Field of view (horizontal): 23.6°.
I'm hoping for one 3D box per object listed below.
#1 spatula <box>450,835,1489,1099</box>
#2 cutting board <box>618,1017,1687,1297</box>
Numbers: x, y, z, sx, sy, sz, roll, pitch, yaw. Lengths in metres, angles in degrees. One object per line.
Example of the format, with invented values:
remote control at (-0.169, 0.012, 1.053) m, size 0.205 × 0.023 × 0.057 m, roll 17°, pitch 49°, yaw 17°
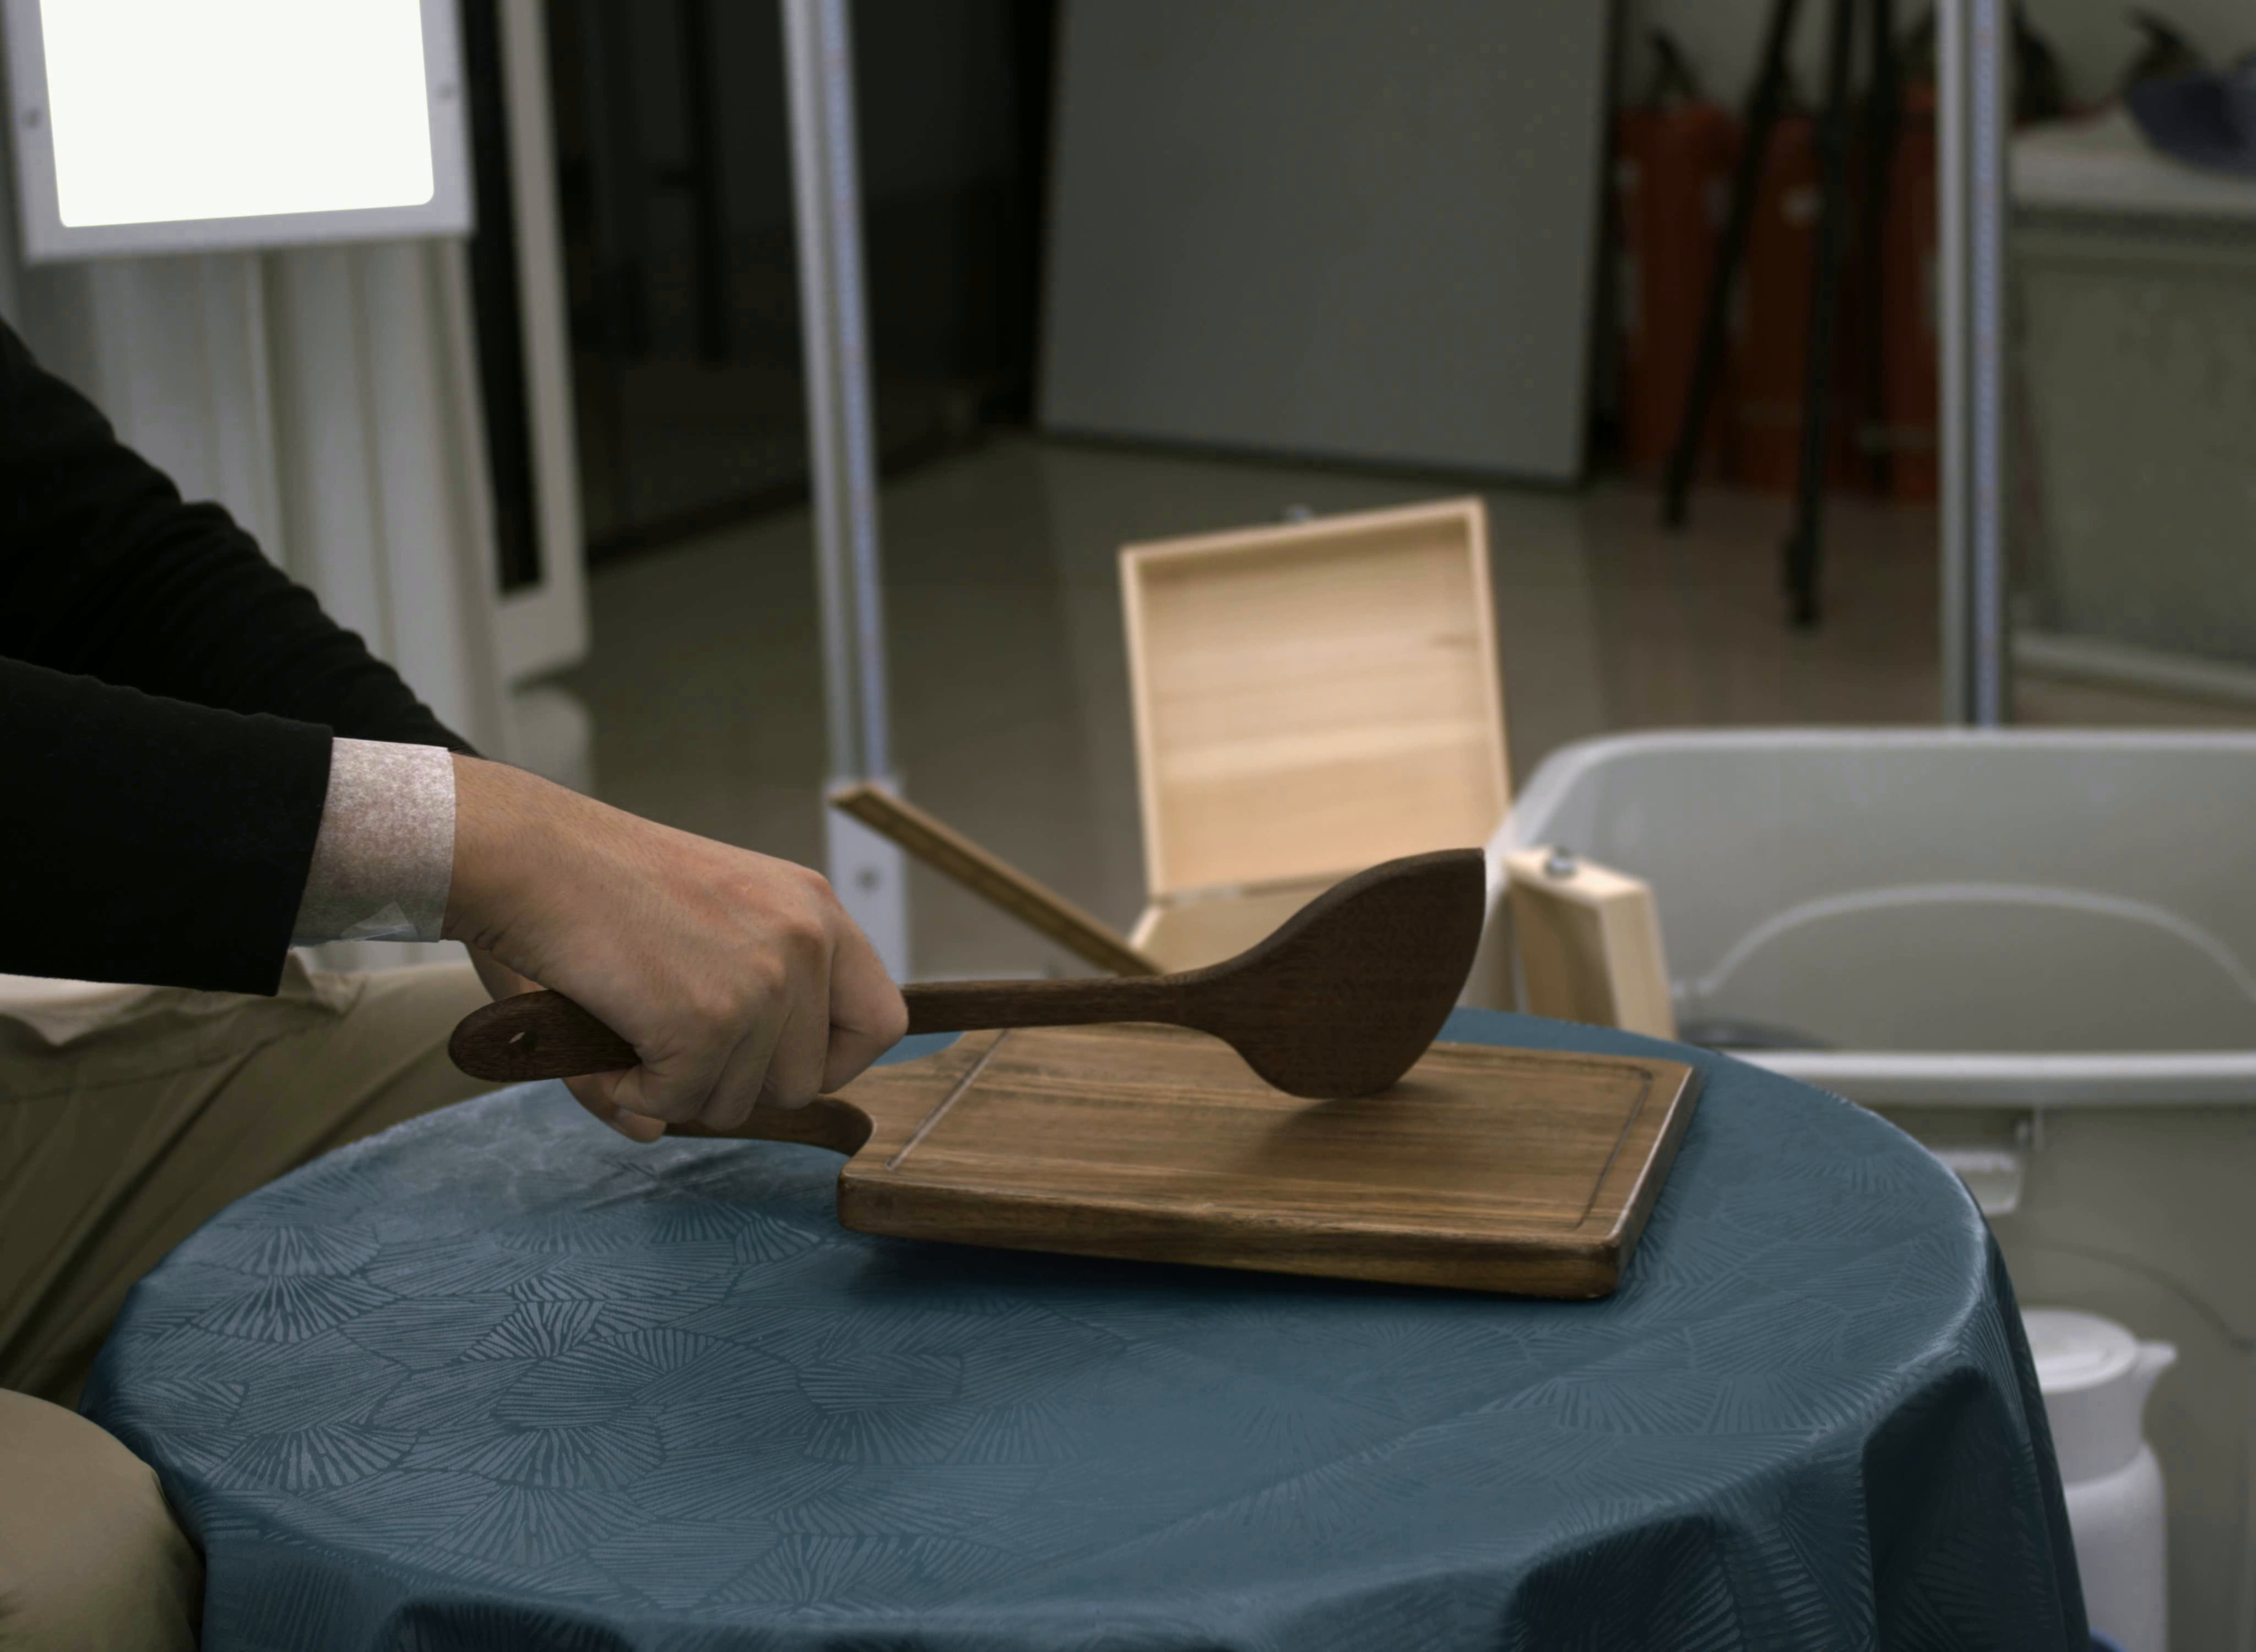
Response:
spatula at (-0.041, 0.052, 1.674) m, size 0.377 × 0.097 × 0.016 m, roll -2°, pitch 31°, yaw -34°
cutting board at (0.001, 0.100, 1.761) m, size 0.350 × 0.023 × 0.200 m, roll 3°, pitch 15°, yaw 14°
